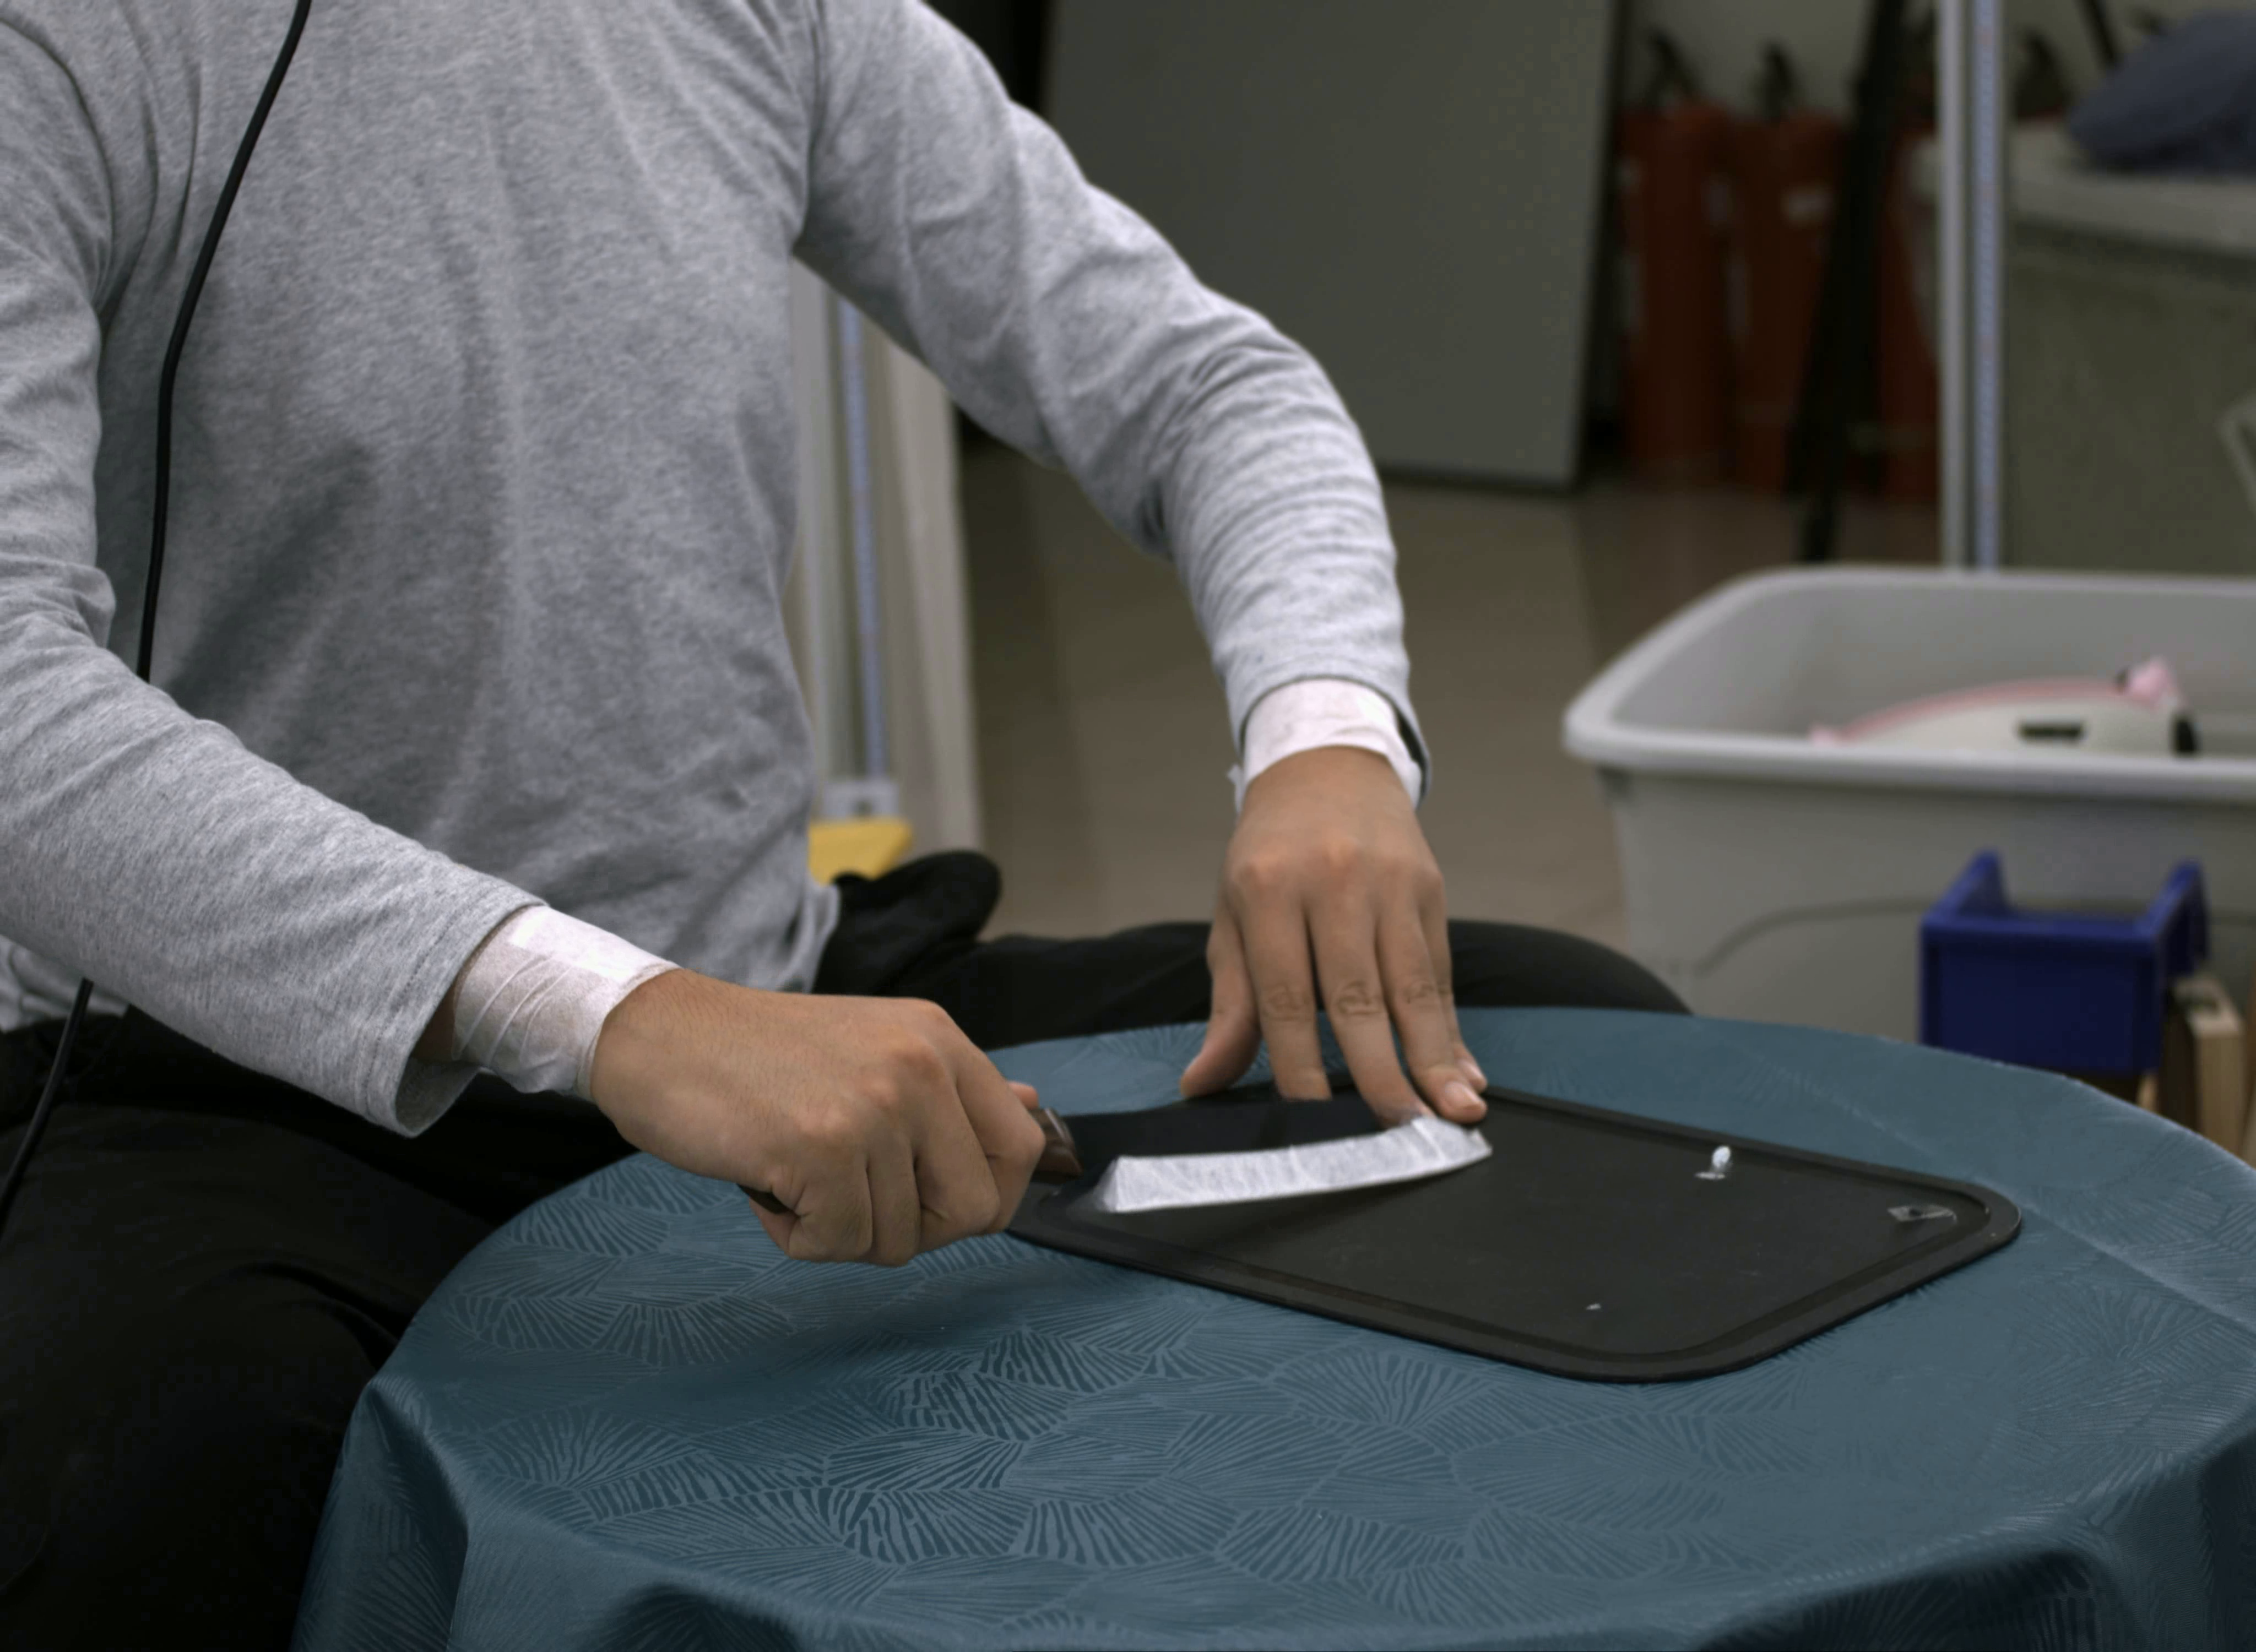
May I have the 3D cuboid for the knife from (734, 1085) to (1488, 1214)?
[{"bbox_3d":[0.002,0.103,1.701,0.282,0.020,0.051,0,40,-34],"label":"knife"}]

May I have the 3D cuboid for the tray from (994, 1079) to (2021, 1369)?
[{"bbox_3d":[0.111,0.122,1.727,0.207,0.010,0.328,-16,18,-42],"label":"tray"}]
